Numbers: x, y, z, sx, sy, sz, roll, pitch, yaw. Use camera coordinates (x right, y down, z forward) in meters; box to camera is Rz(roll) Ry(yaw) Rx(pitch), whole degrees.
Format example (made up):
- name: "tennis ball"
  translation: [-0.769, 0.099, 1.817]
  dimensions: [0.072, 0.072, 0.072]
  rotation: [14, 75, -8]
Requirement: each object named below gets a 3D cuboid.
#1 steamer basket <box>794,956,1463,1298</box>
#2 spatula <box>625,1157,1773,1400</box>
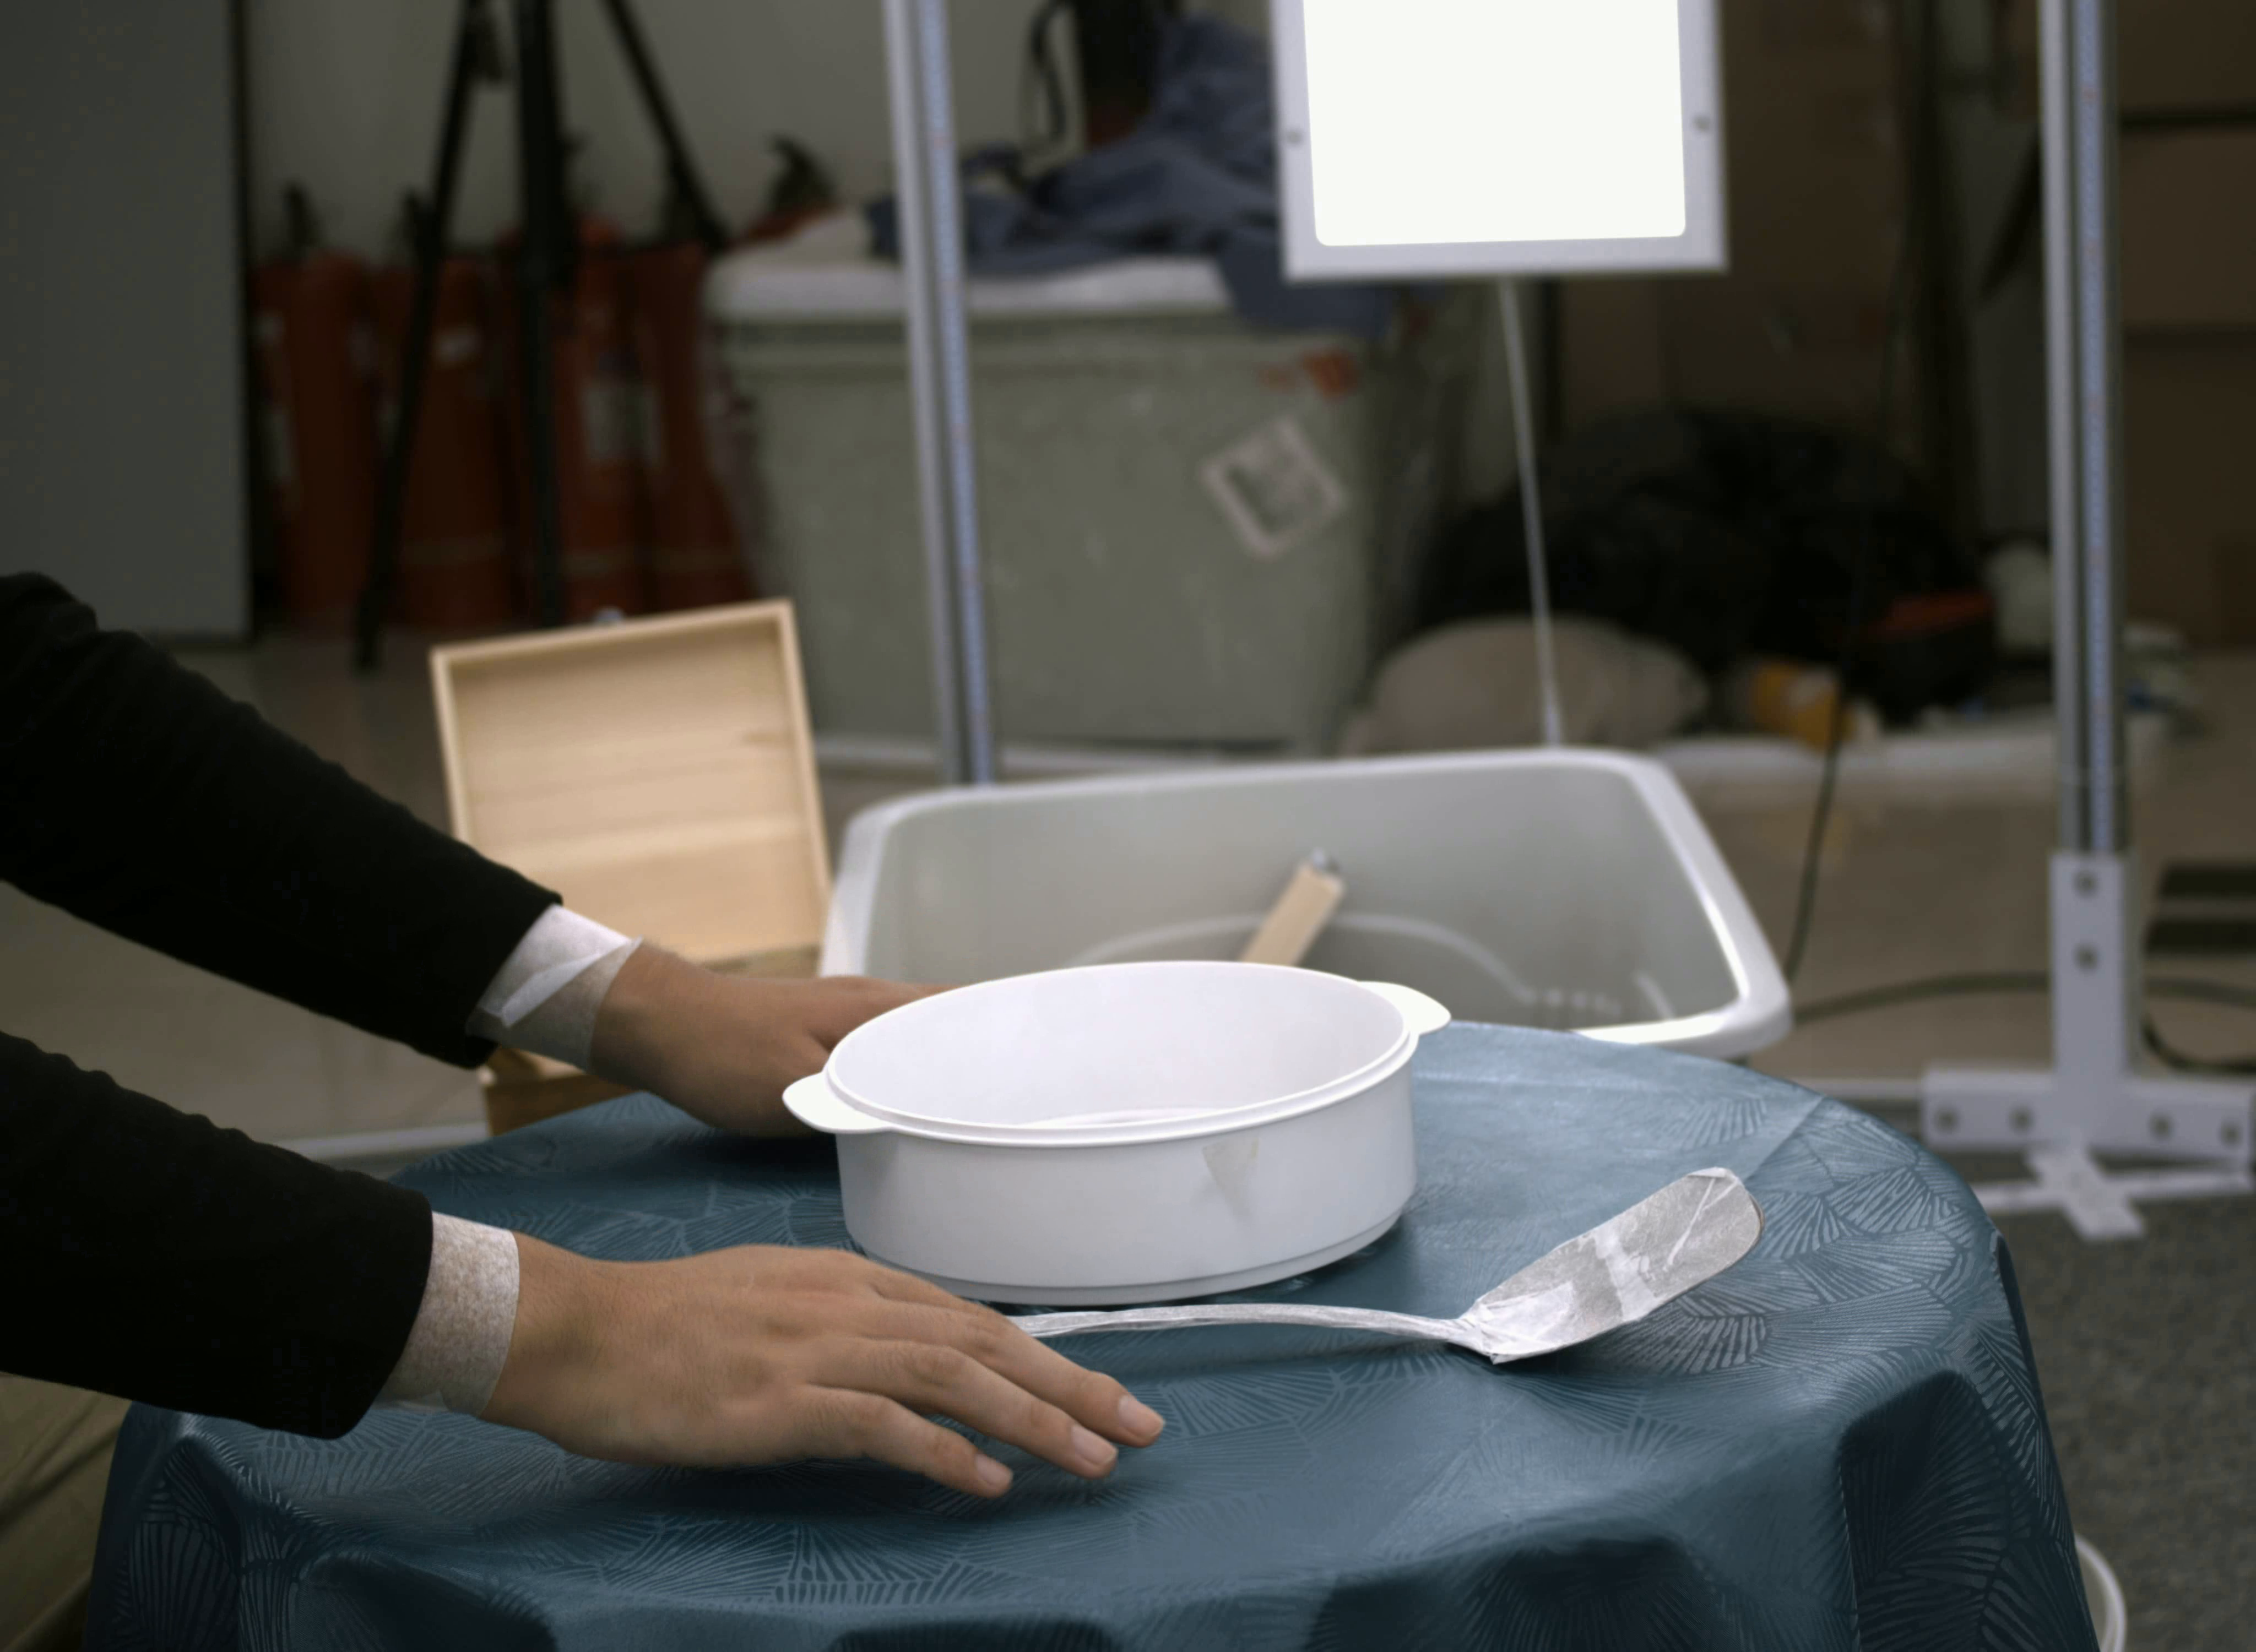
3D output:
- name: "steamer basket"
  translation: [0.004, 0.101, 1.851]
  dimensions: [0.227, 0.069, 0.204]
  rotation: [-10, 14, -16]
- name: "spatula"
  translation: [0.020, 0.148, 1.719]
  dimensions: [0.365, 0.045, 0.098]
  rotation: [-4, 16, 3]
